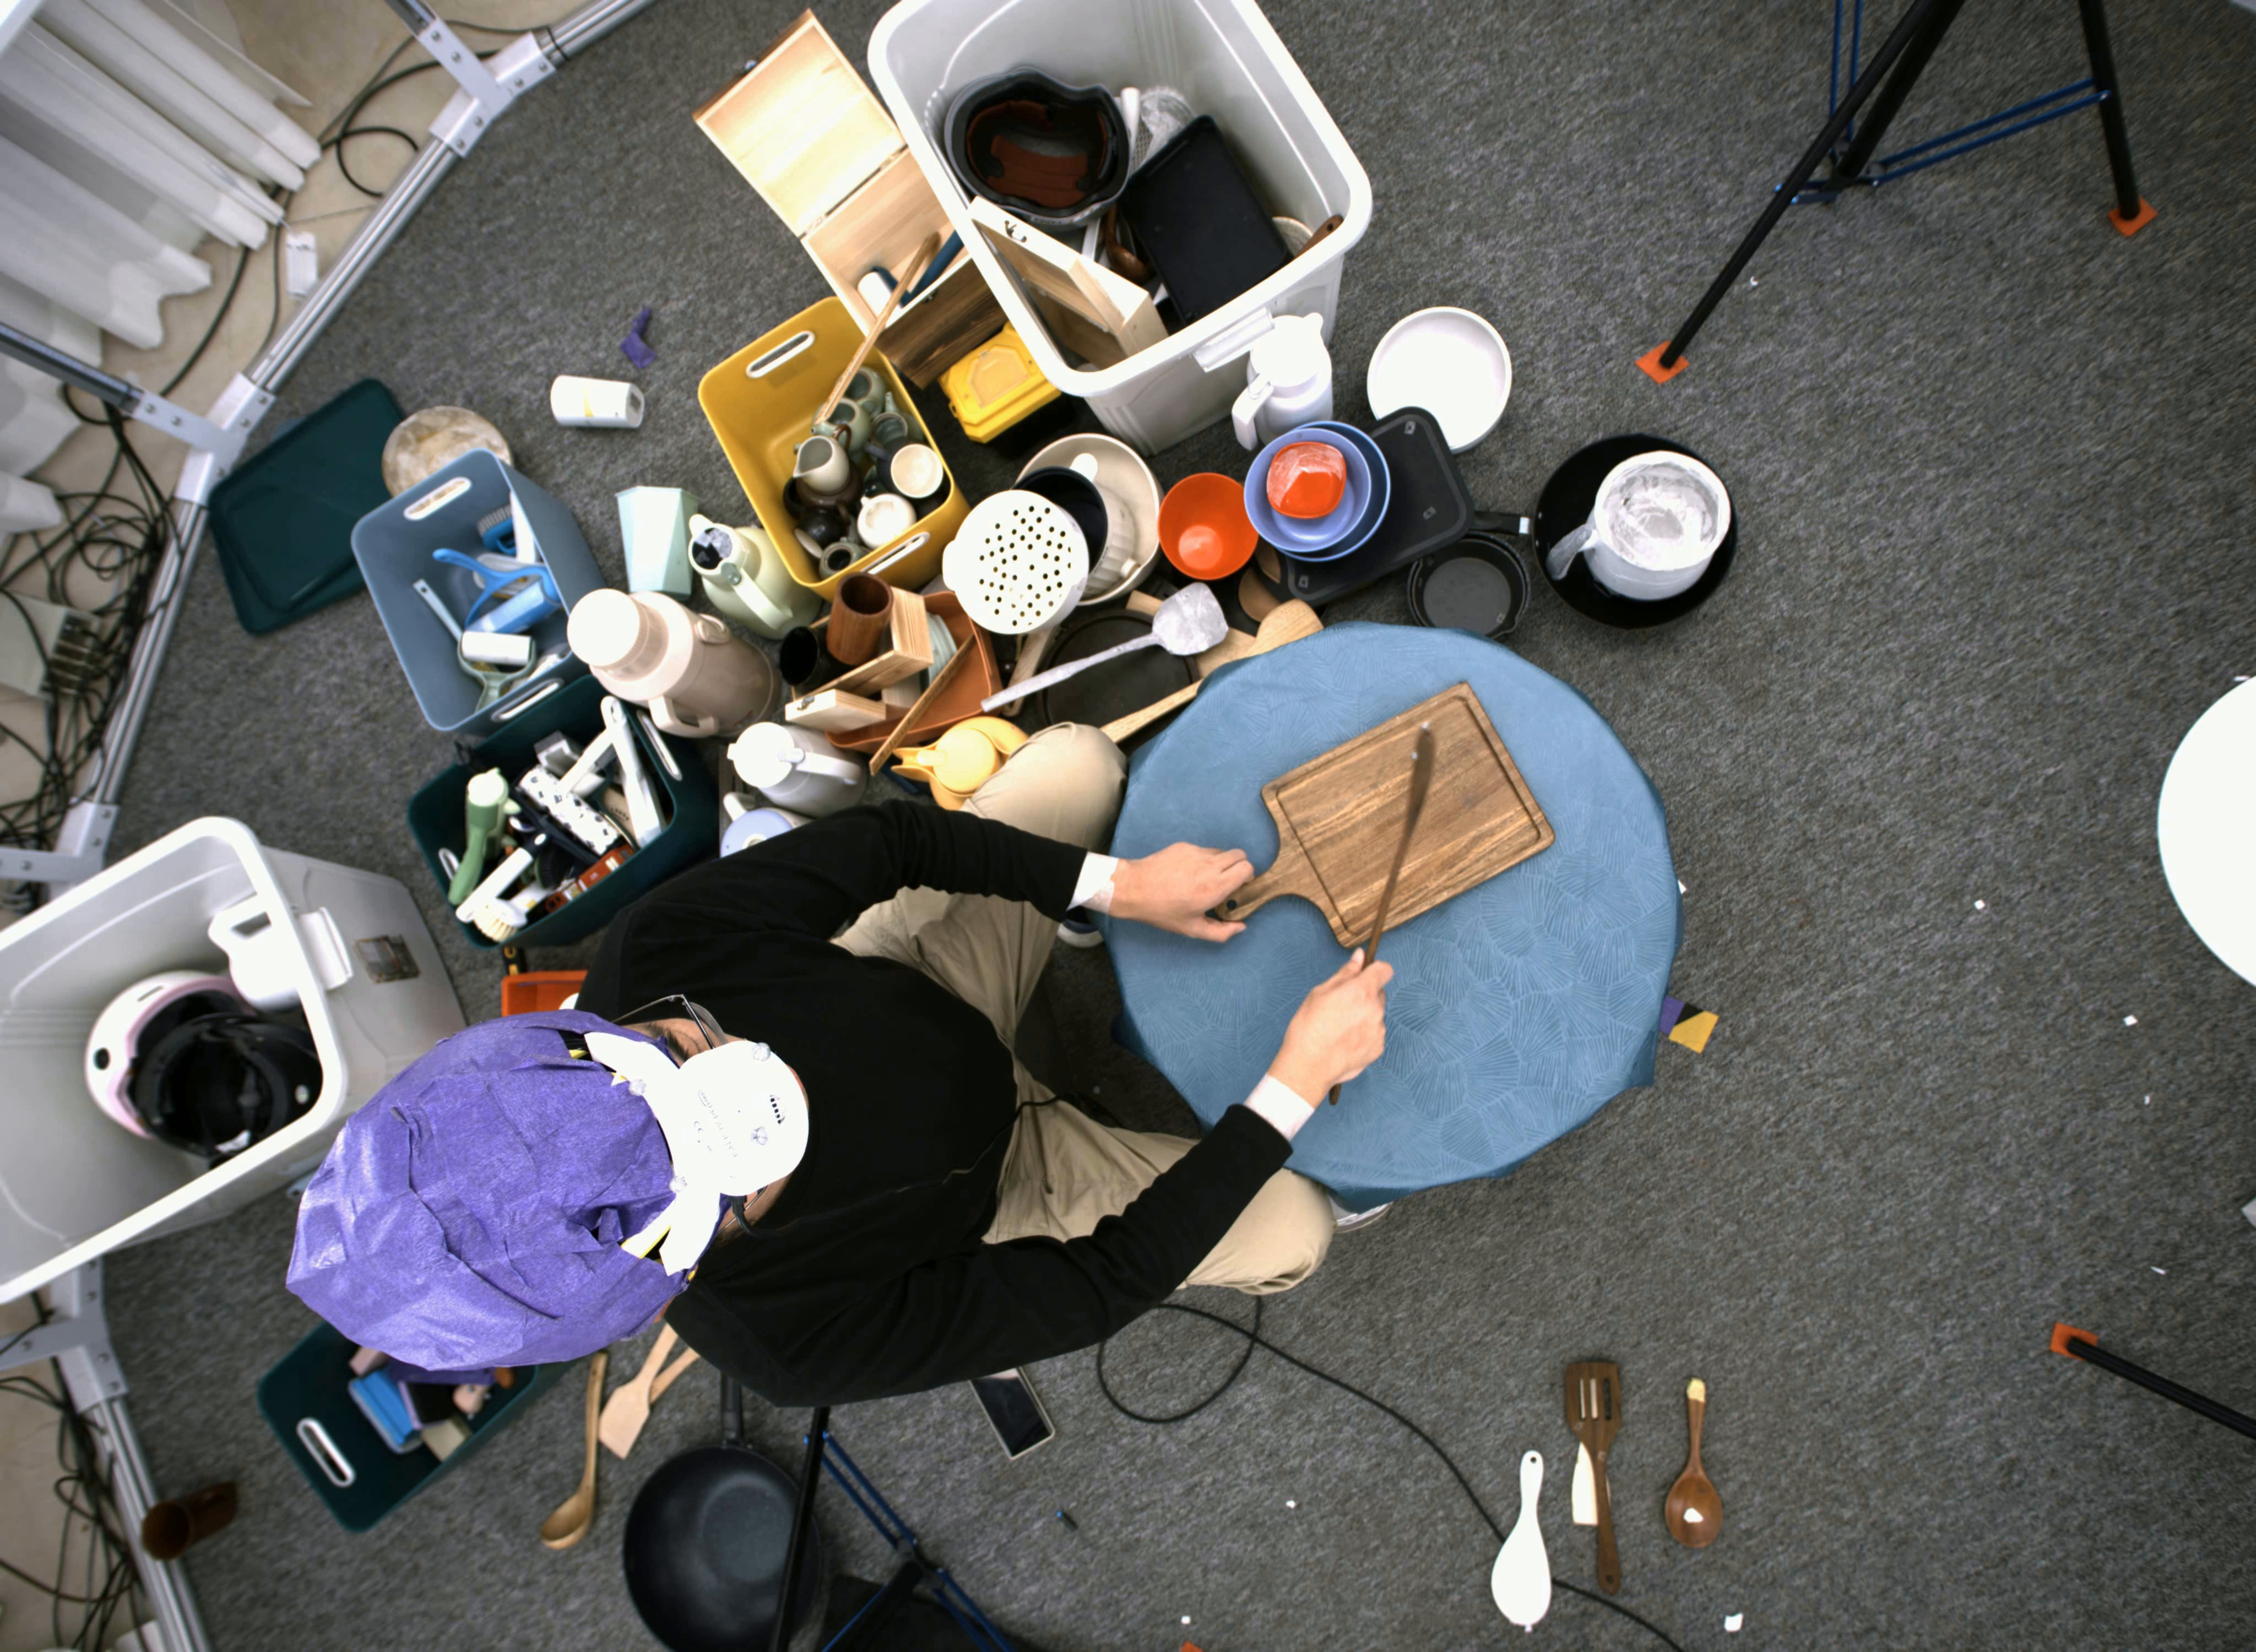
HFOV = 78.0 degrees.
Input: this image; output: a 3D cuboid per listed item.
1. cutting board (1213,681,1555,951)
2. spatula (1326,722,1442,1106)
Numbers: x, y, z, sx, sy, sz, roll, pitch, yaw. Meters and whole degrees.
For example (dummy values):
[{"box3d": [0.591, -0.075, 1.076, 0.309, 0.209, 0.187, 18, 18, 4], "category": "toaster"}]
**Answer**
[{"box3d": [0.246, 0.010, 1.449, 0.353, 0.023, 0.200, -28, 82, 5], "category": "cutting board"}, {"box3d": [0.248, 0.084, 1.337, 0.016, 0.096, 0.386, 17, 92, 4], "category": "spatula"}]
